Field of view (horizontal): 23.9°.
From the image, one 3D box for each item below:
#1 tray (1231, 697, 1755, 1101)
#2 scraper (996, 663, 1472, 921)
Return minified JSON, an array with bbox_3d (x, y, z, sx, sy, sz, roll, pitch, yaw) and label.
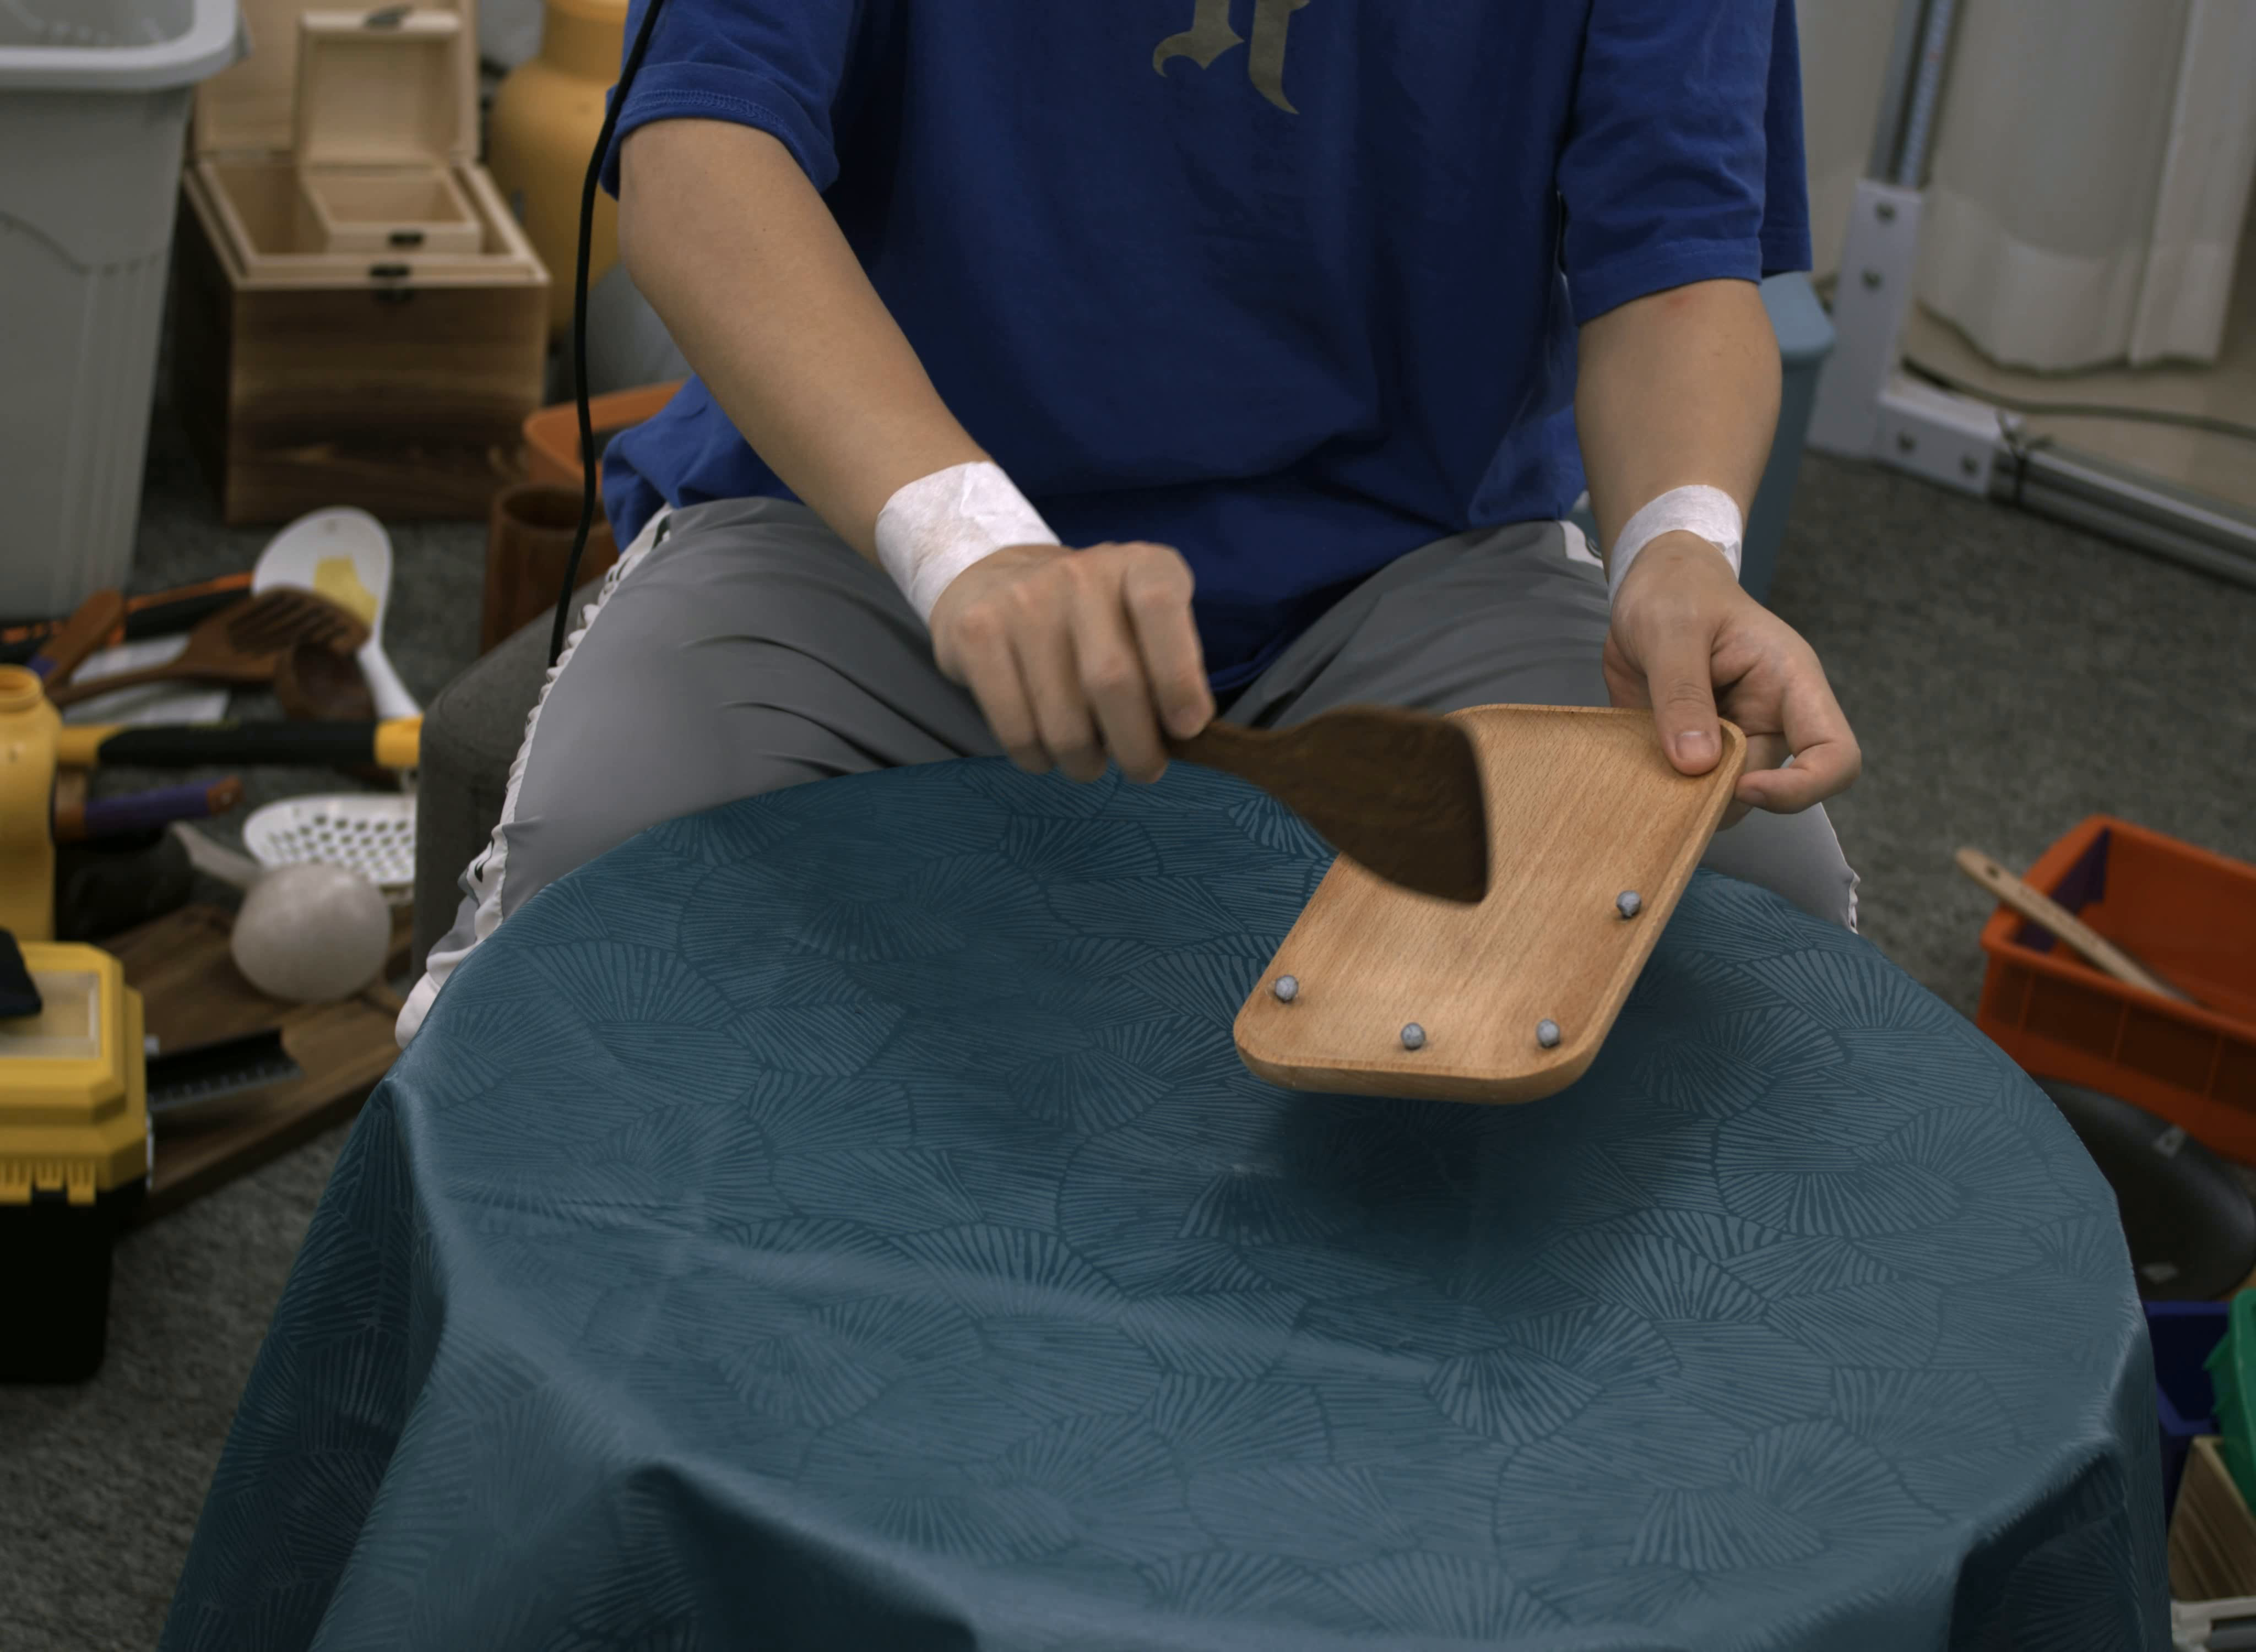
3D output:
[{"bbox_3d":[0.130,0.023,1.856,0.131,0.023,0.251,6,31,22],"label":"tray"},{"bbox_3d":[0.032,-0.022,1.819,0.213,0.075,0.011,18,38,40],"label":"scraper"}]
